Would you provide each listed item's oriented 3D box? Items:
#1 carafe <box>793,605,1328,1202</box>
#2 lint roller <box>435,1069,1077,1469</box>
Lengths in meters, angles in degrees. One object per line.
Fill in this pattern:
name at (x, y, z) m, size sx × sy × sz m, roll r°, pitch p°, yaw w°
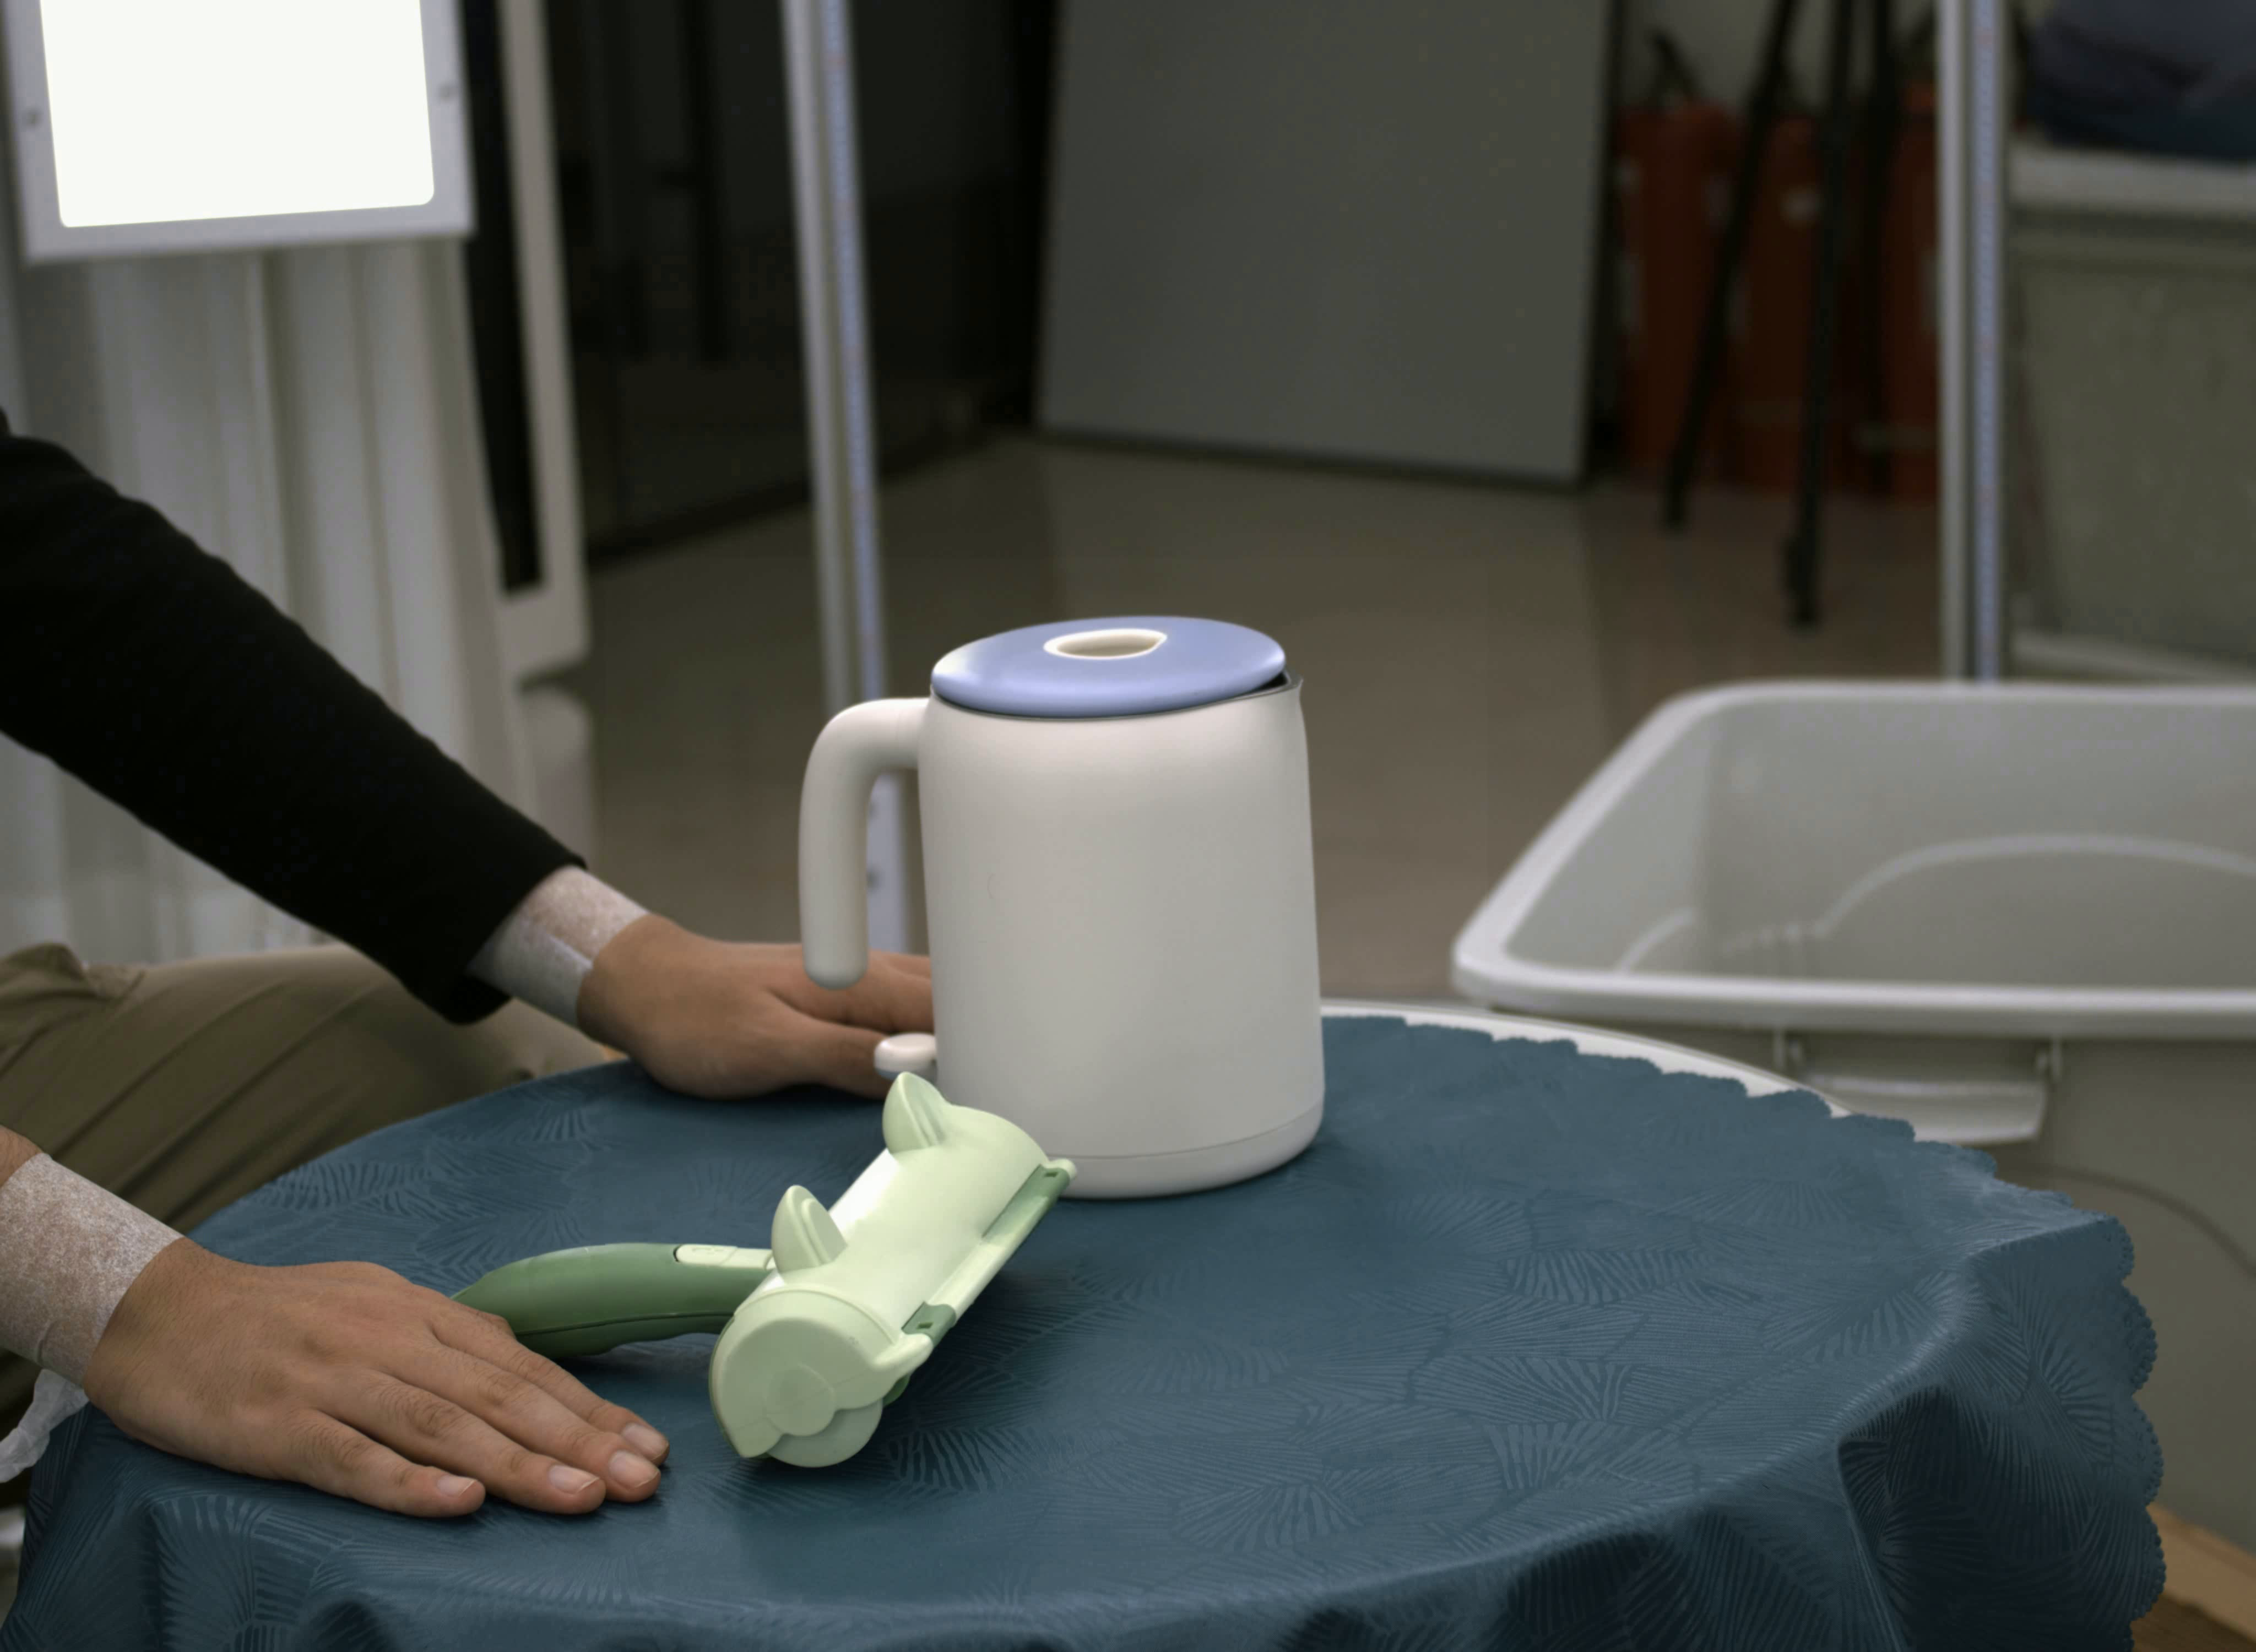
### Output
carafe at (-0.025, 0.025, 1.806) m, size 0.191 × 0.184 × 0.131 m, roll -1°, pitch 13°, yaw 23°
lint roller at (-0.124, 0.127, 1.624) m, size 0.182 × 0.083 × 0.197 m, roll 2°, pitch 14°, yaw 14°
